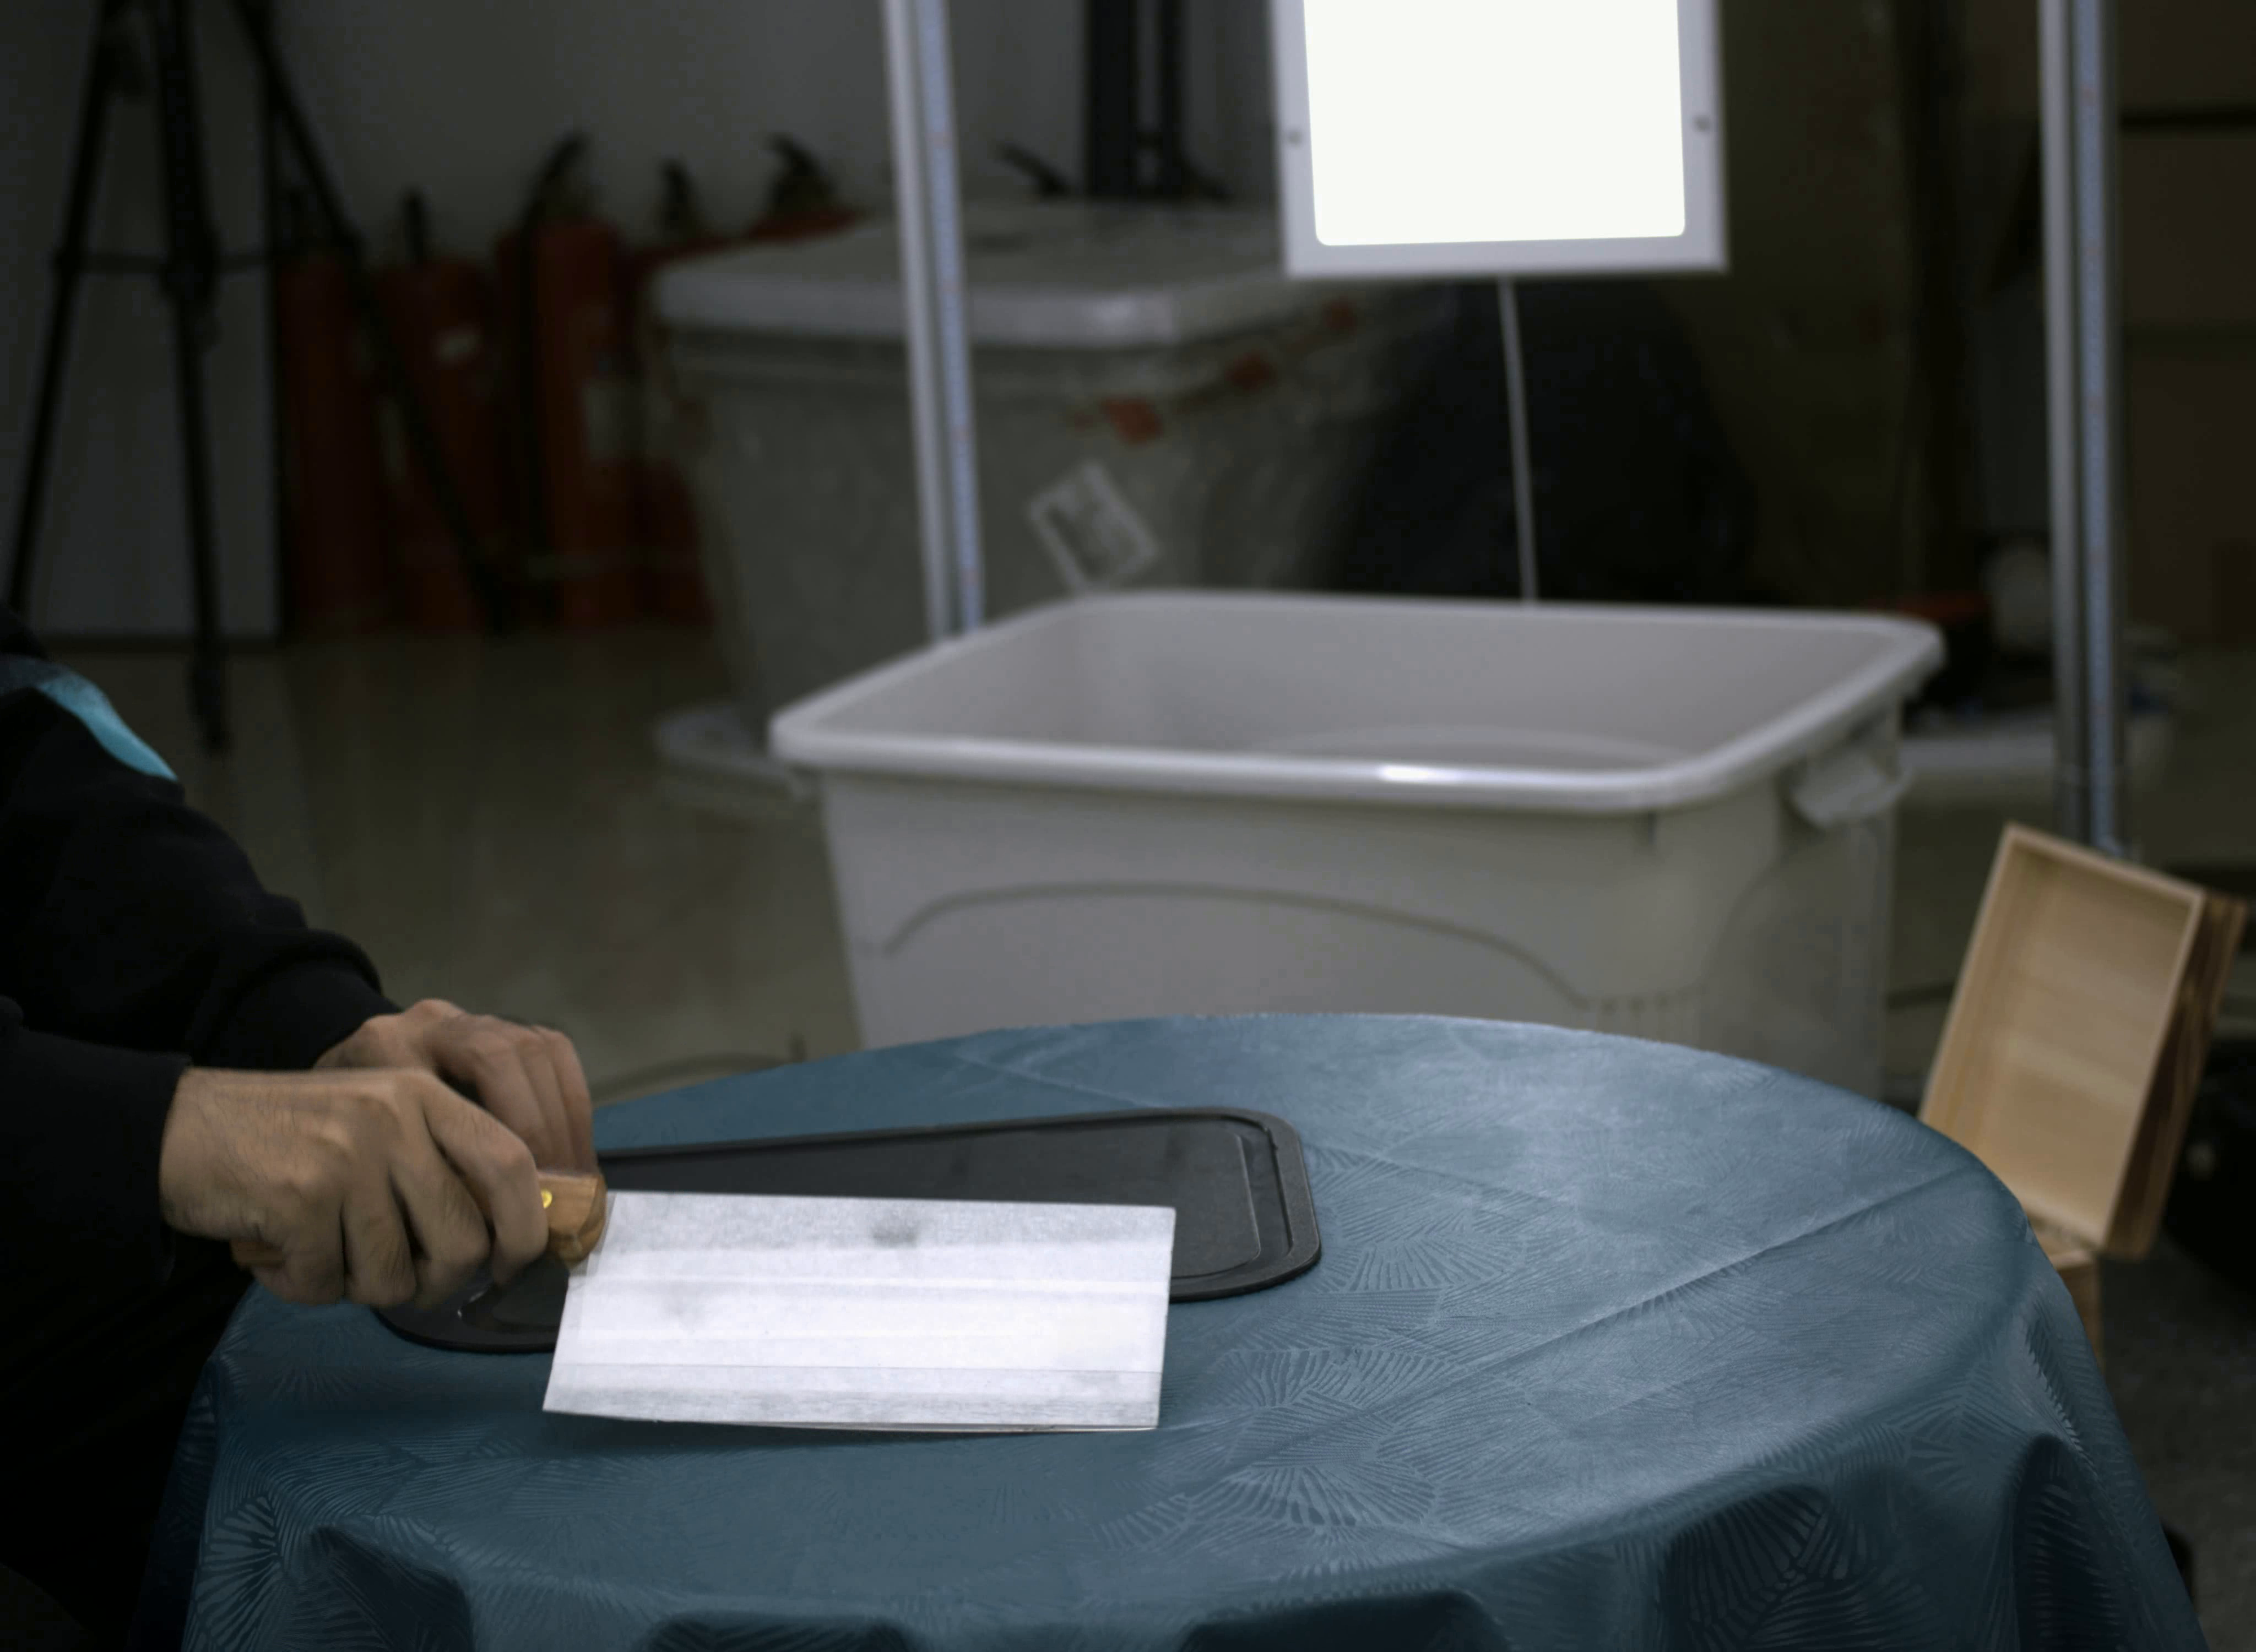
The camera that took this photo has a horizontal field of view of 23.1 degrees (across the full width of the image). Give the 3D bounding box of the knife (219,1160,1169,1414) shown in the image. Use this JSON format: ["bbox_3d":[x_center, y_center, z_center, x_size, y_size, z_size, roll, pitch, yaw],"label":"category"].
[{"bbox_3d":[-0.139,0.145,1.720,0.307,0.021,0.092,1,48,8],"label":"knife"}]

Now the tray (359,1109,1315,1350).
[{"bbox_3d":[-0.100,0.135,1.883,0.325,0.010,0.210,-4,14,2],"label":"tray"}]
